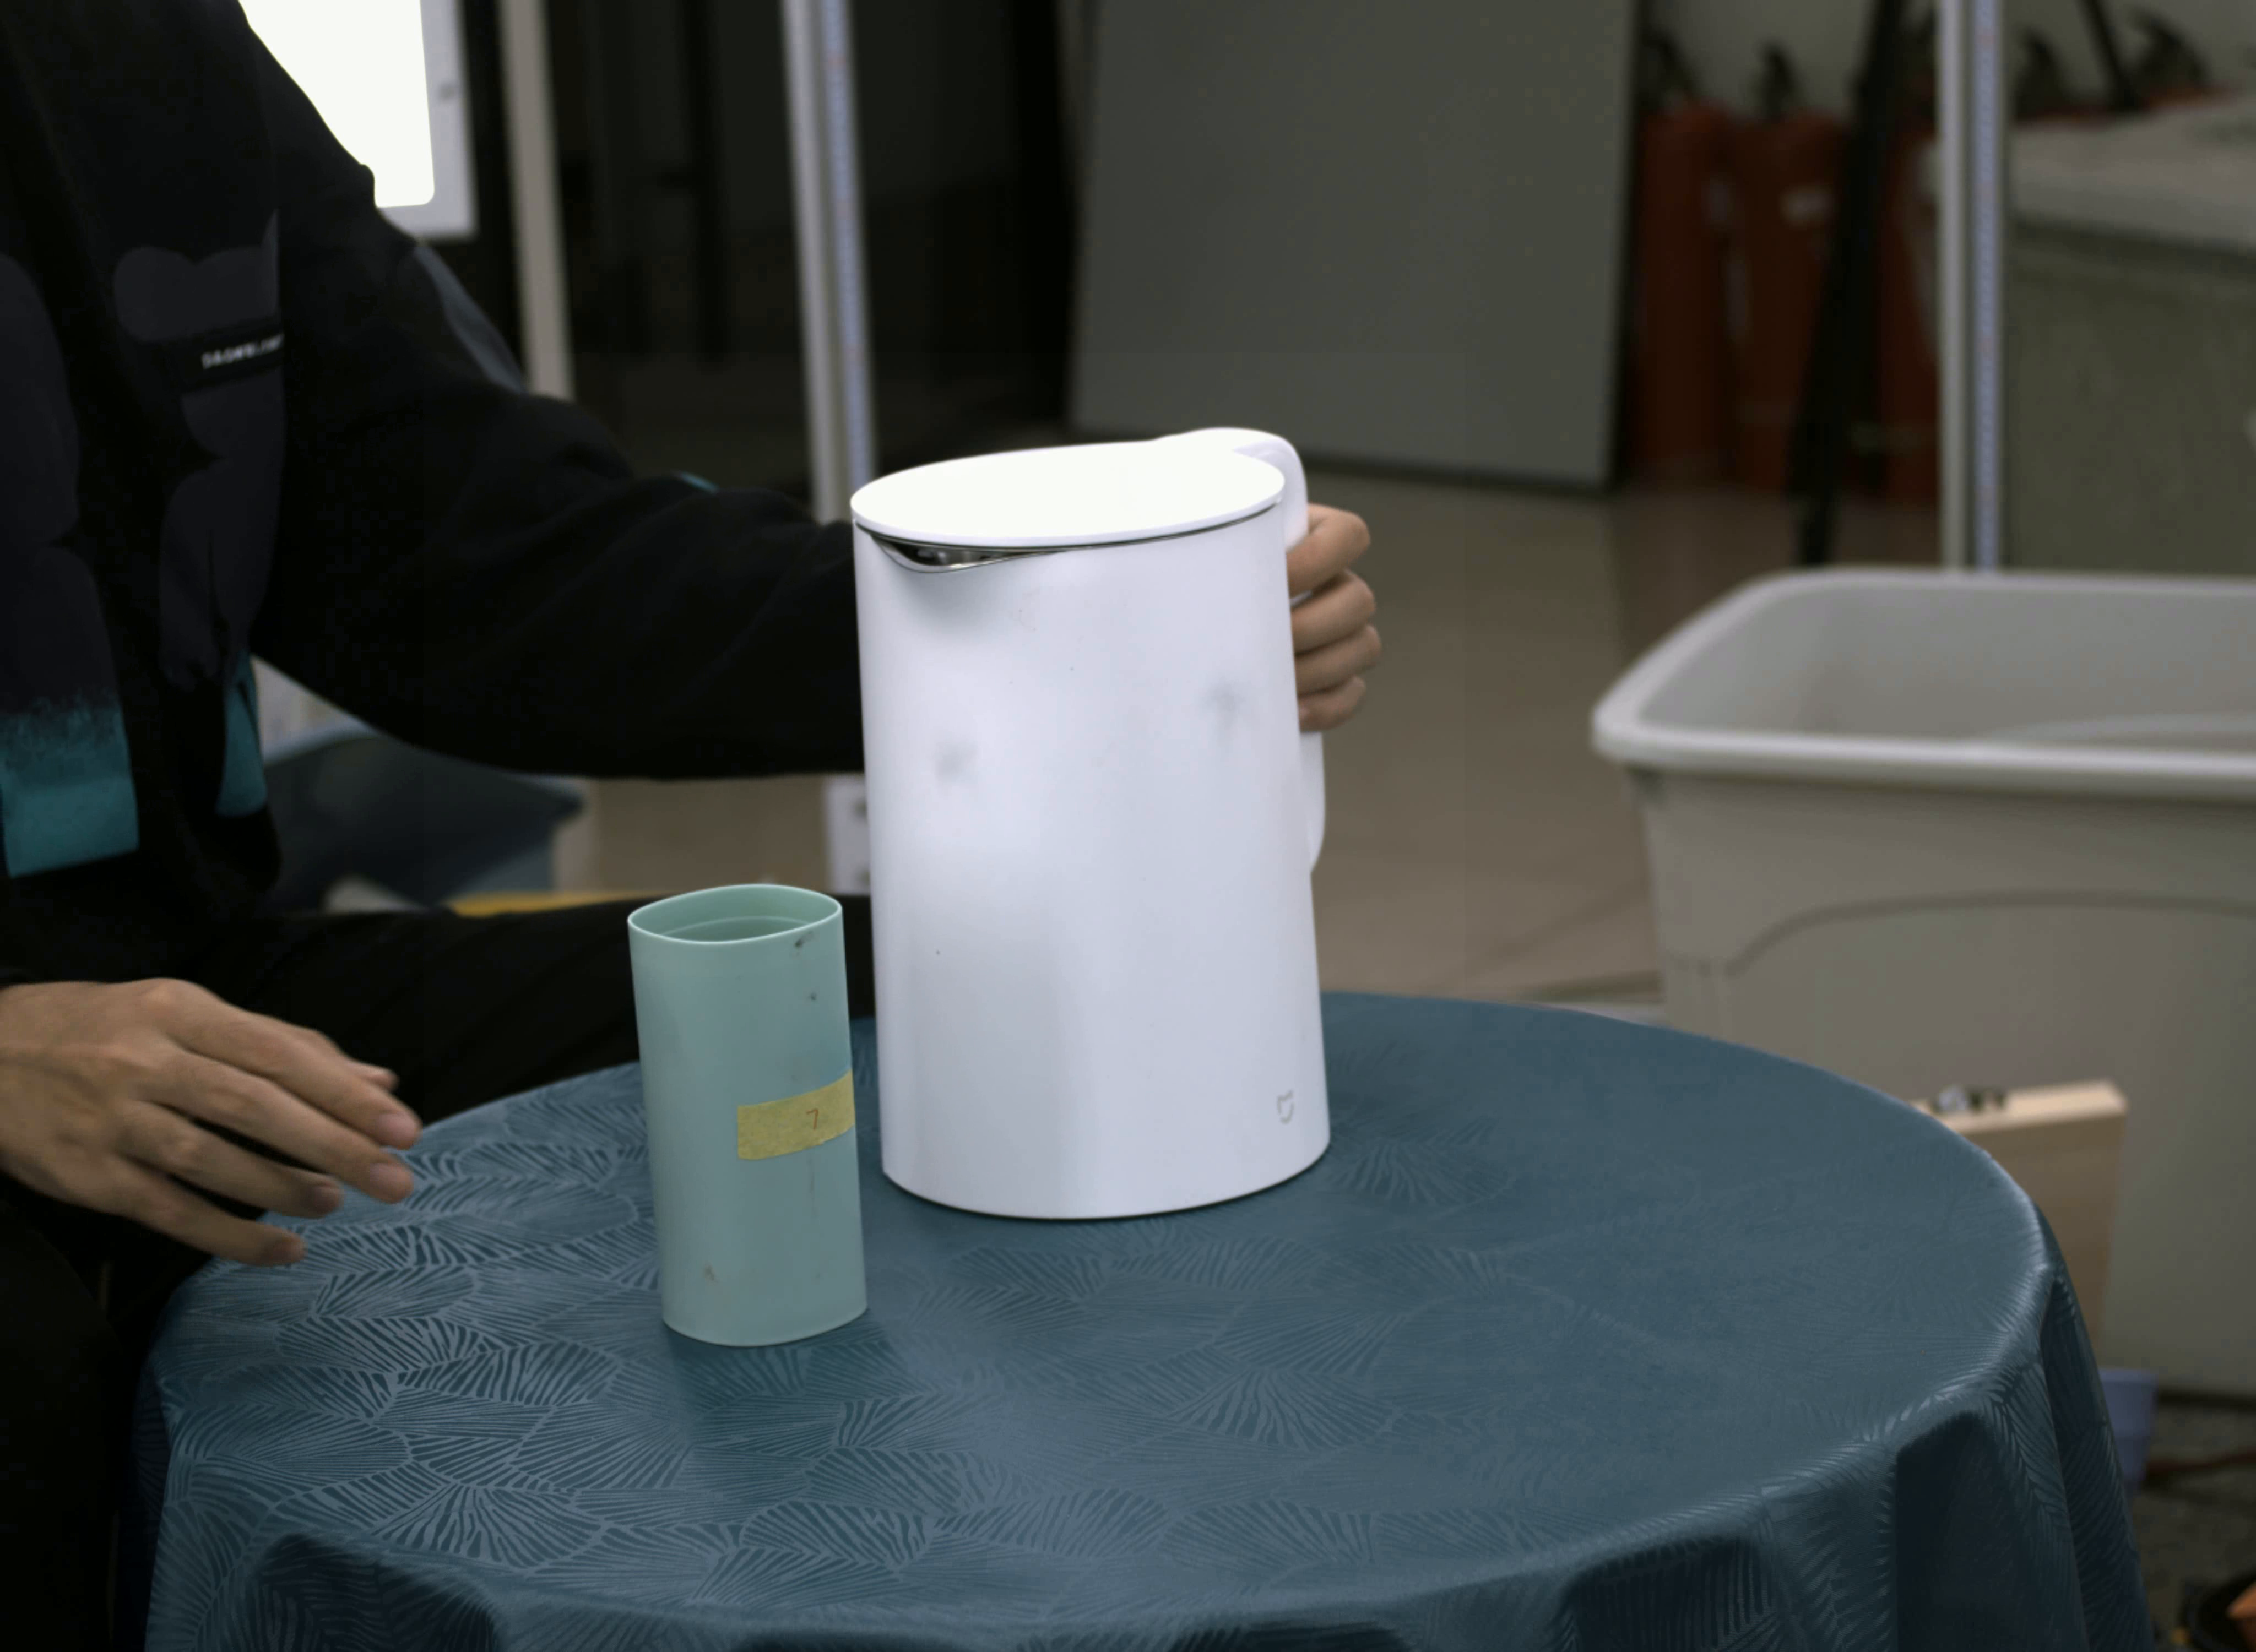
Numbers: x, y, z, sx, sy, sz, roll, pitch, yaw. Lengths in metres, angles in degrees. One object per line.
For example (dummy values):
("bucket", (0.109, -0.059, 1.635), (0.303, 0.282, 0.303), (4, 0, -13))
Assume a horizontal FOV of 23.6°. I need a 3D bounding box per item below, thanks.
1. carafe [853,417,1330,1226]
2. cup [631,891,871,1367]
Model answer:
("carafe", (0.002, -0.008, 1.805), (0.153, 0.243, 0.209), (7, 18, 34))
("cup", (-0.116, 0.092, 1.663), (0.066, 0.134, 0.067), (-4, 14, 0))
